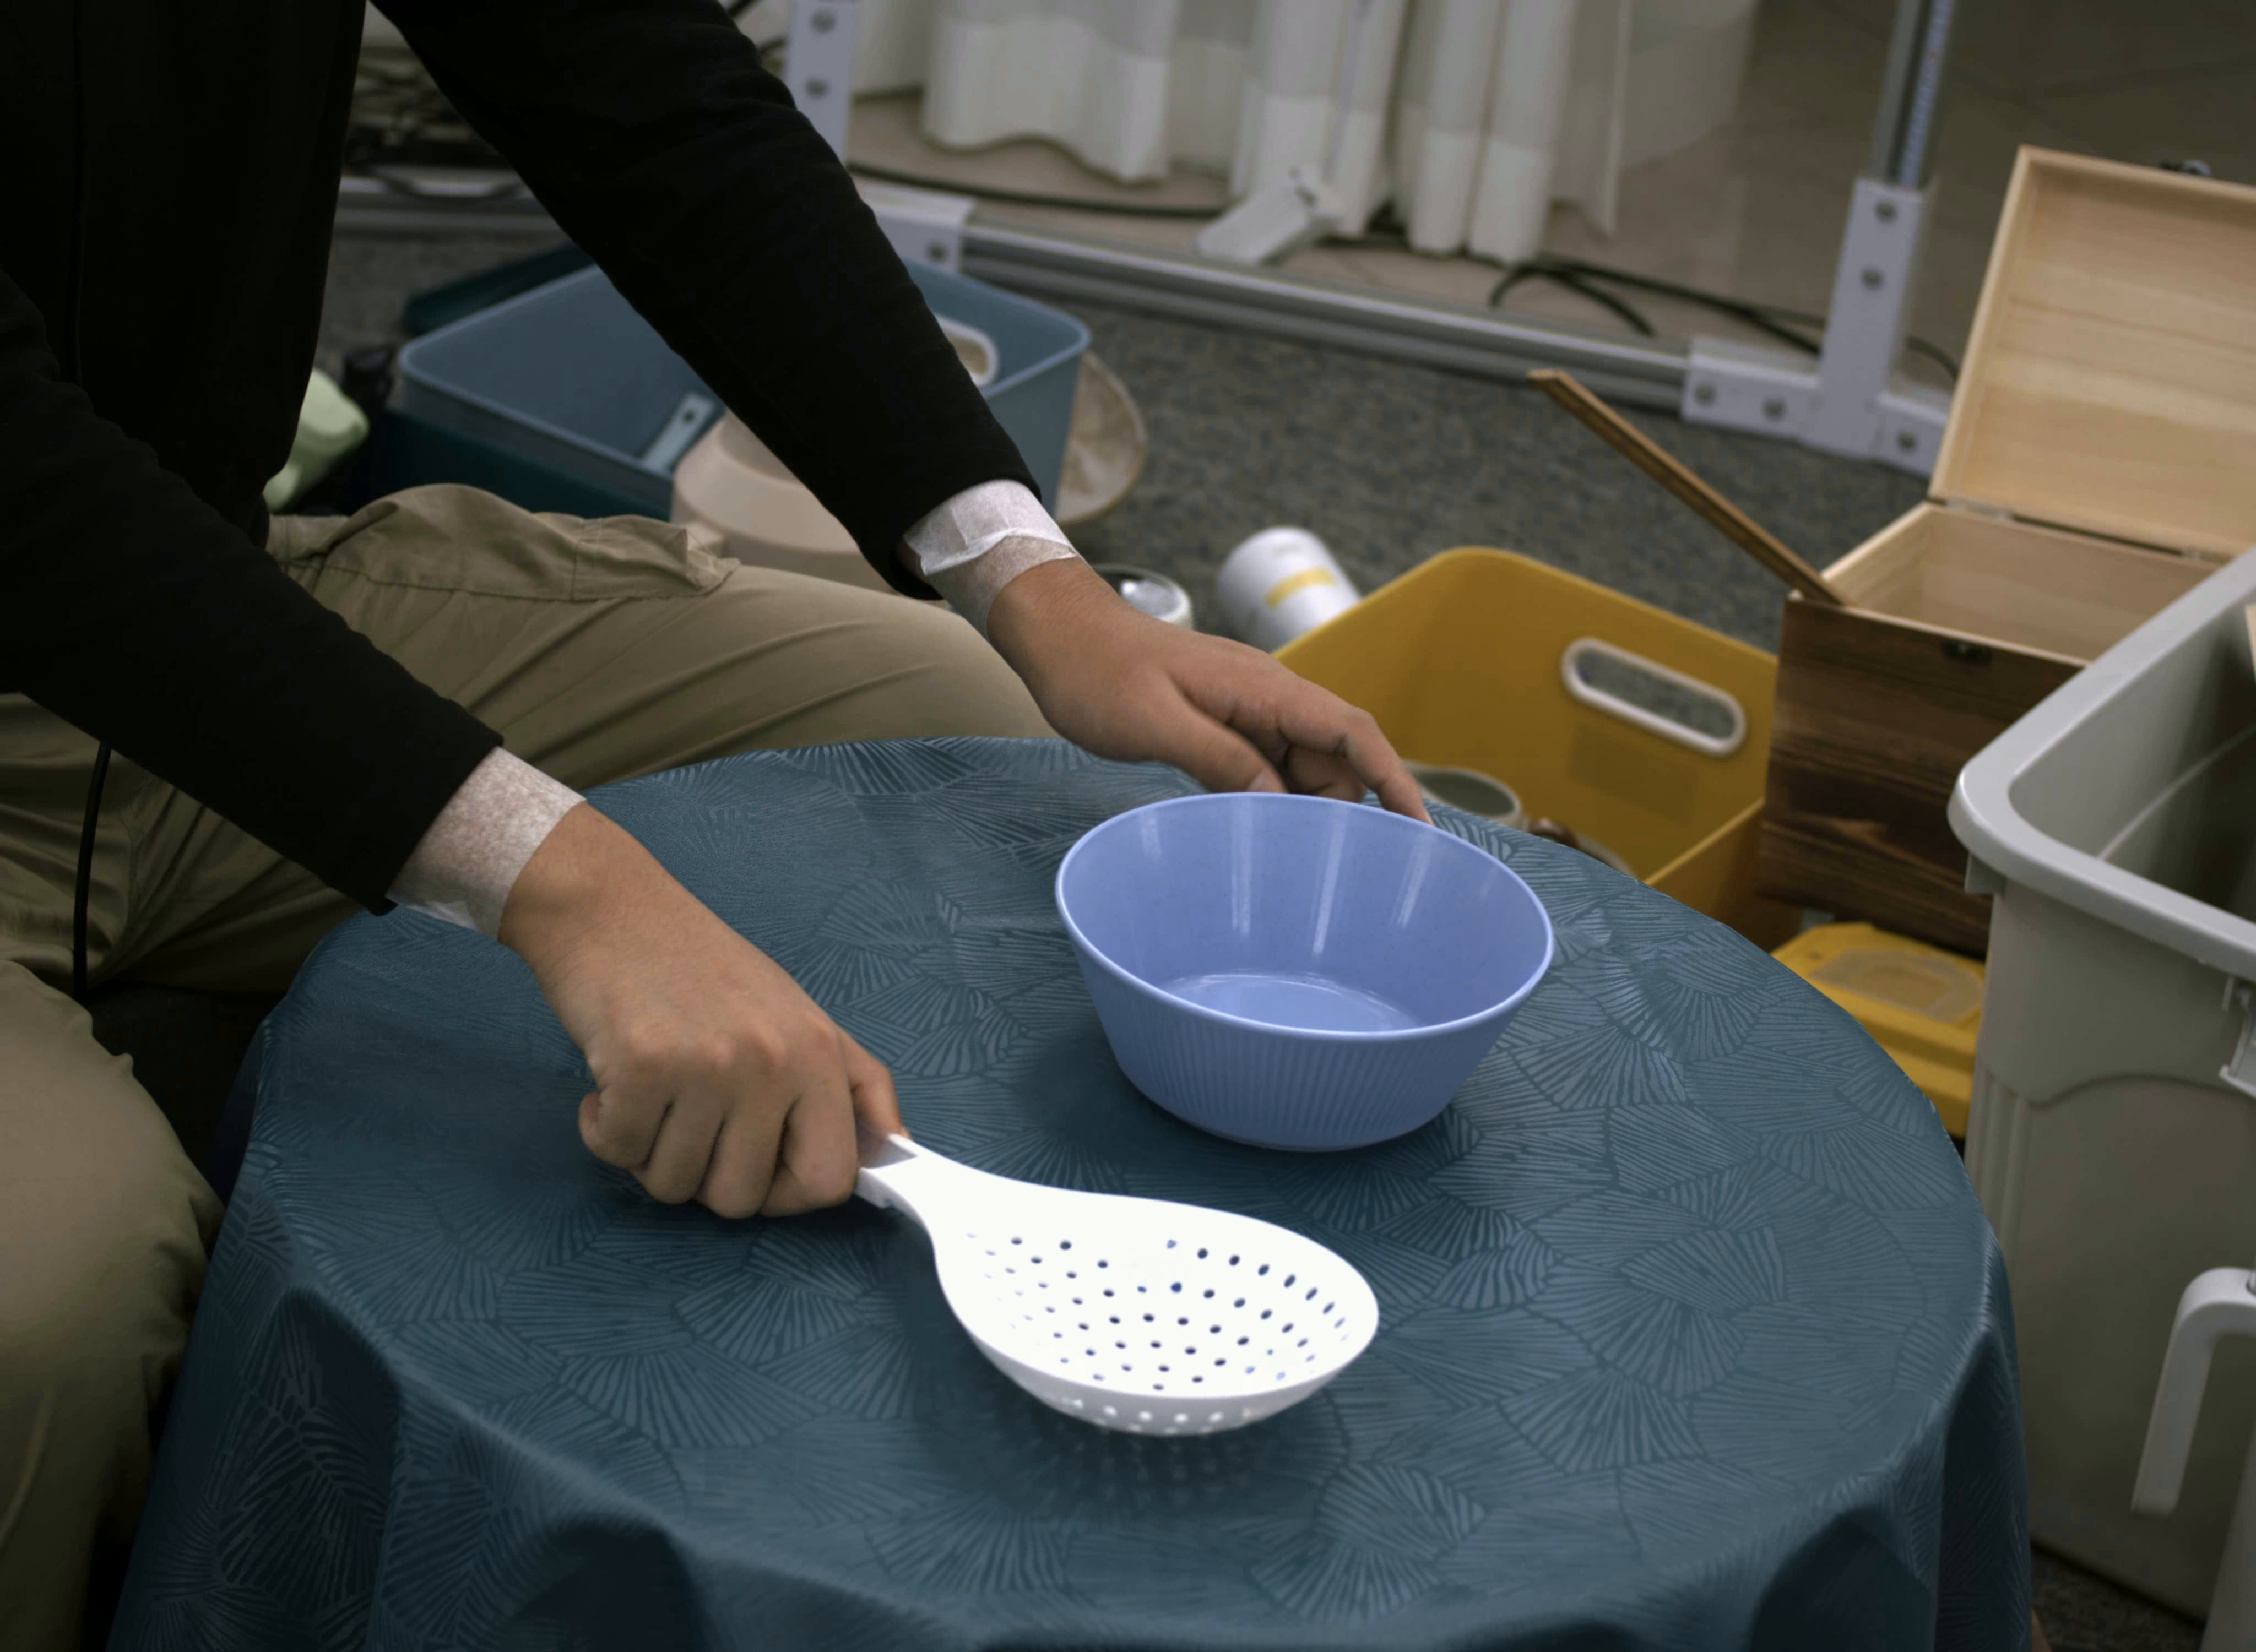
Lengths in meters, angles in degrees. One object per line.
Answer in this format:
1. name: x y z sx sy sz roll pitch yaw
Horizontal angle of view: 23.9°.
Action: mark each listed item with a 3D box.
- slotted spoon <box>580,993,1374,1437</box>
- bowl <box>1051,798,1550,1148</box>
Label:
1. slotted spoon: -0.065 0.121 1.743 0.135 0.045 0.352 -17 34 -40
2. bowl: 0.057 0.057 1.869 0.175 0.070 0.177 4 26 -2
